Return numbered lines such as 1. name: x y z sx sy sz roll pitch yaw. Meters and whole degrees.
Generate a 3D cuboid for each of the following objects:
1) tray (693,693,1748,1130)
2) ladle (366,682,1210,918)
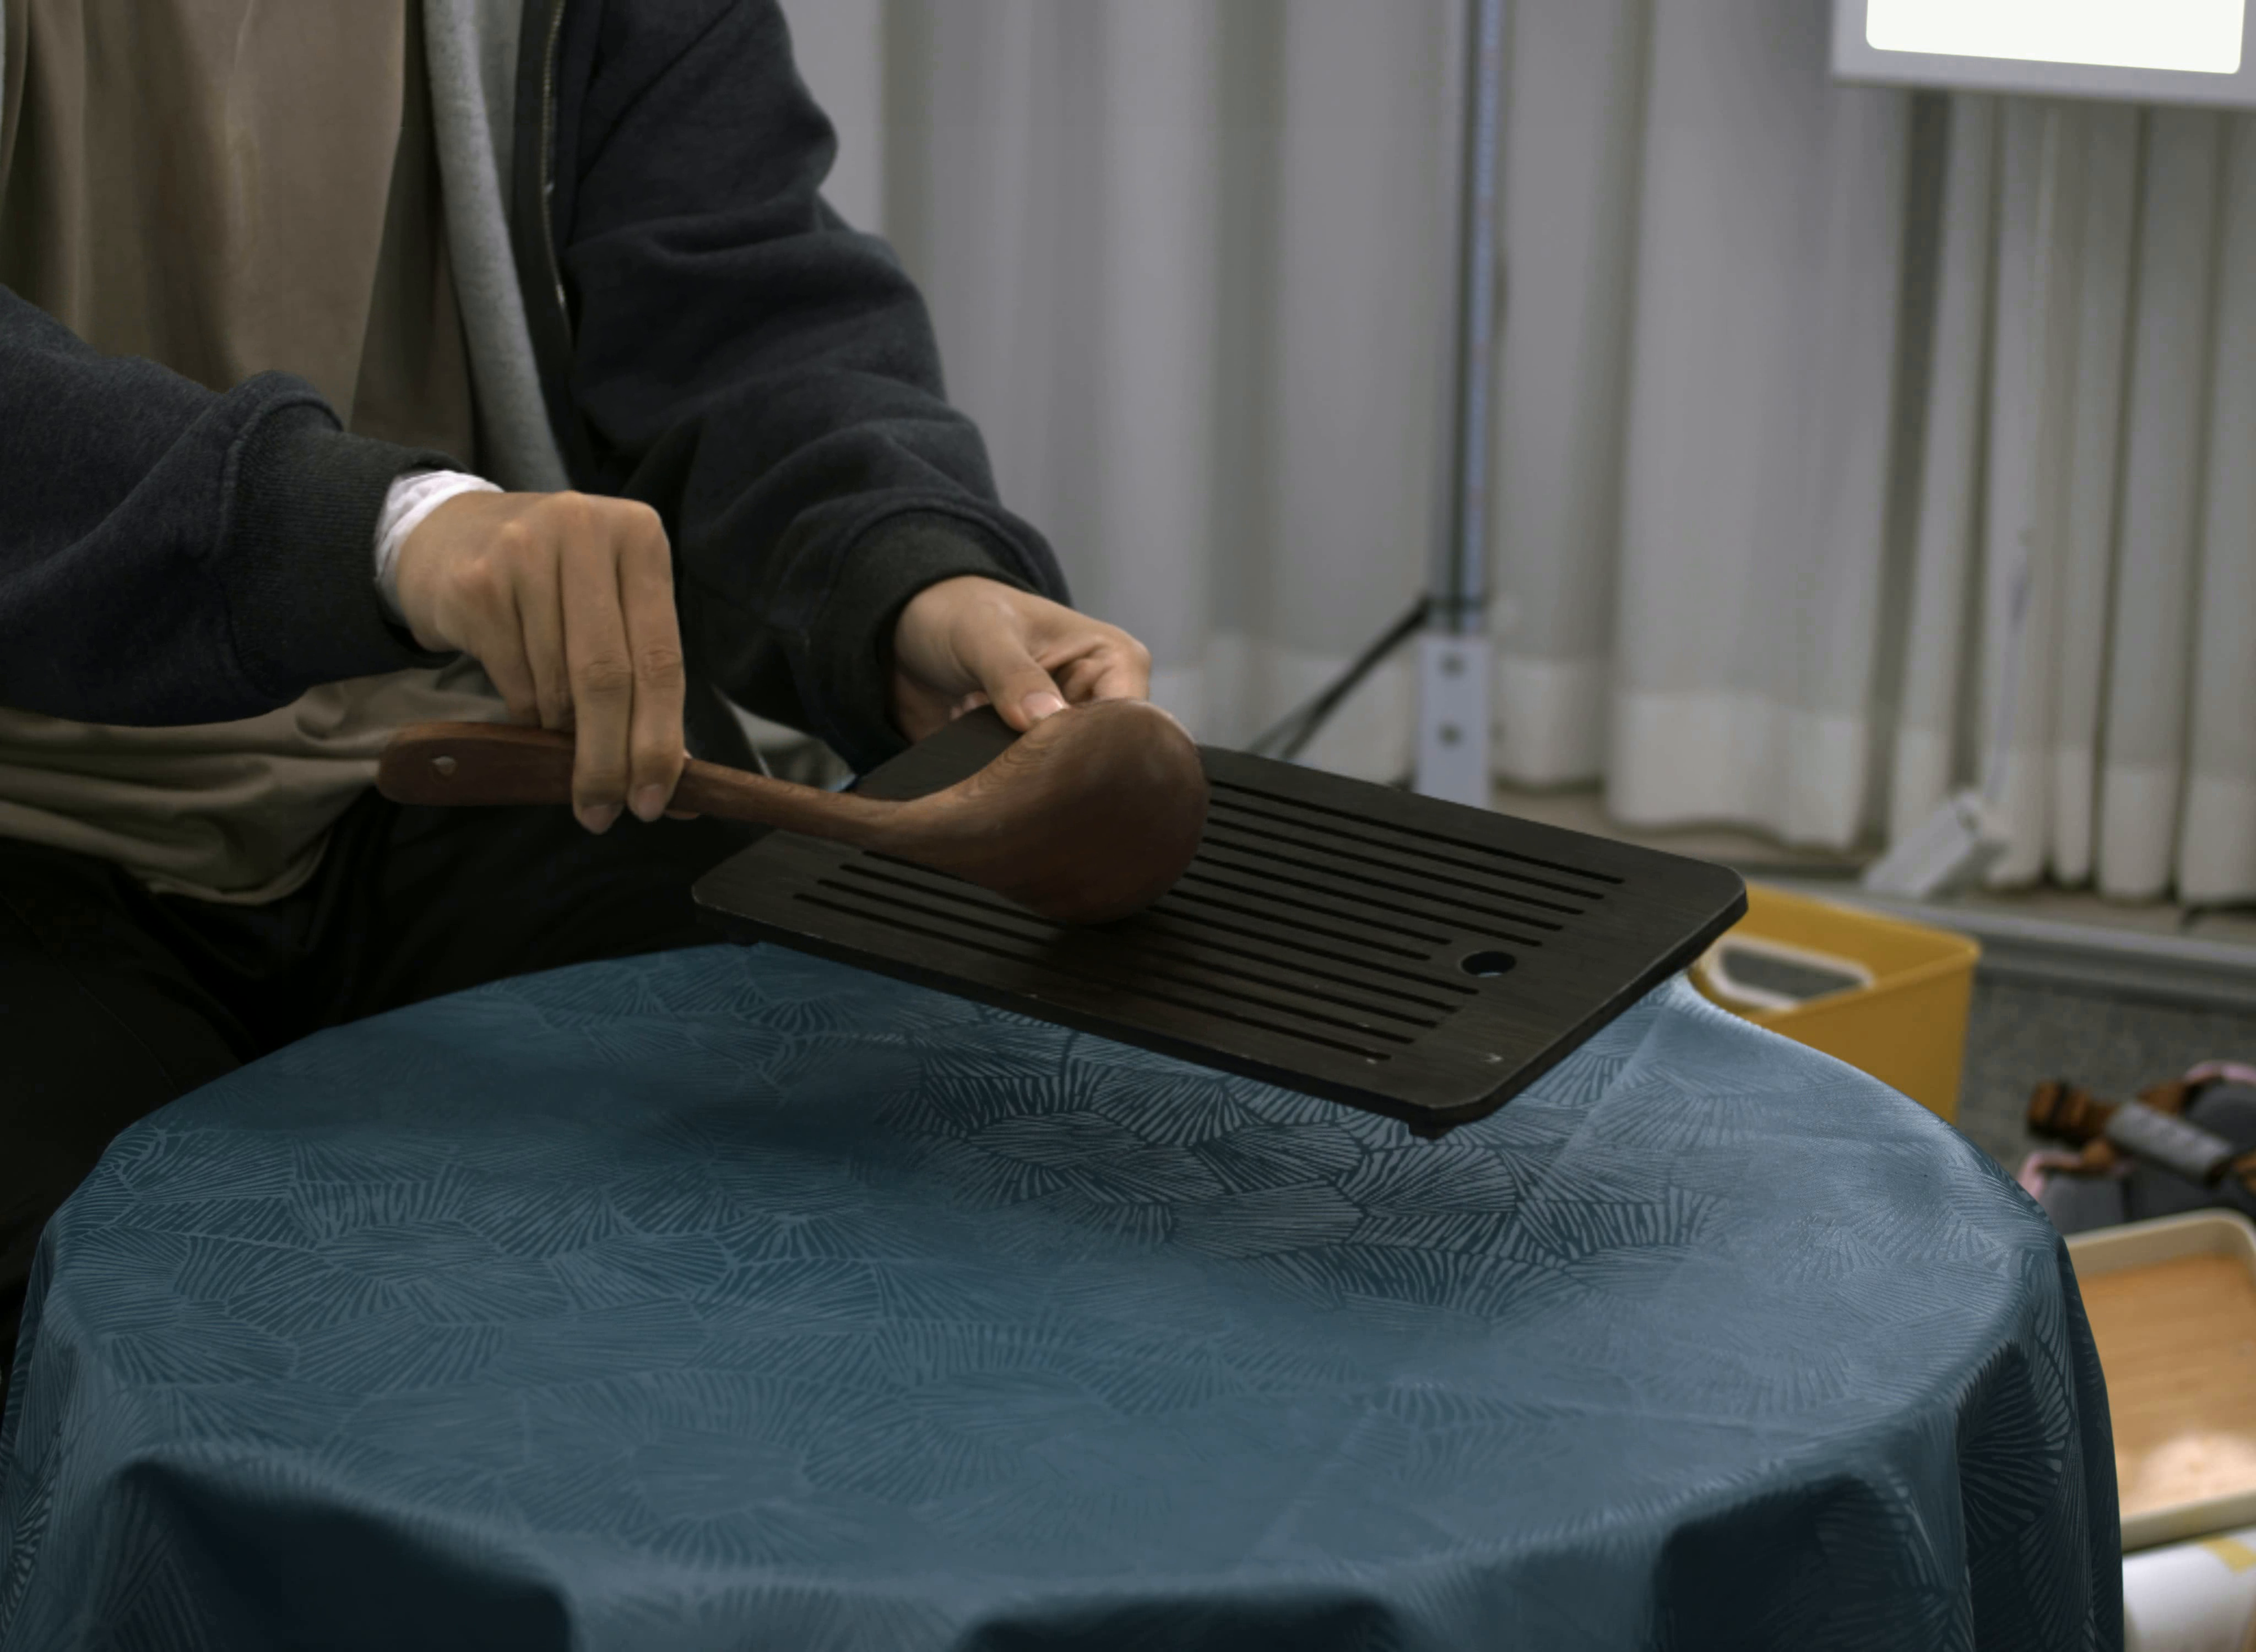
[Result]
1. tray: 0.027 0.023 1.656 0.302 0.019 0.170 14 32 35
2. ladle: -0.104 -0.017 1.631 0.258 0.077 0.065 6 24 9
